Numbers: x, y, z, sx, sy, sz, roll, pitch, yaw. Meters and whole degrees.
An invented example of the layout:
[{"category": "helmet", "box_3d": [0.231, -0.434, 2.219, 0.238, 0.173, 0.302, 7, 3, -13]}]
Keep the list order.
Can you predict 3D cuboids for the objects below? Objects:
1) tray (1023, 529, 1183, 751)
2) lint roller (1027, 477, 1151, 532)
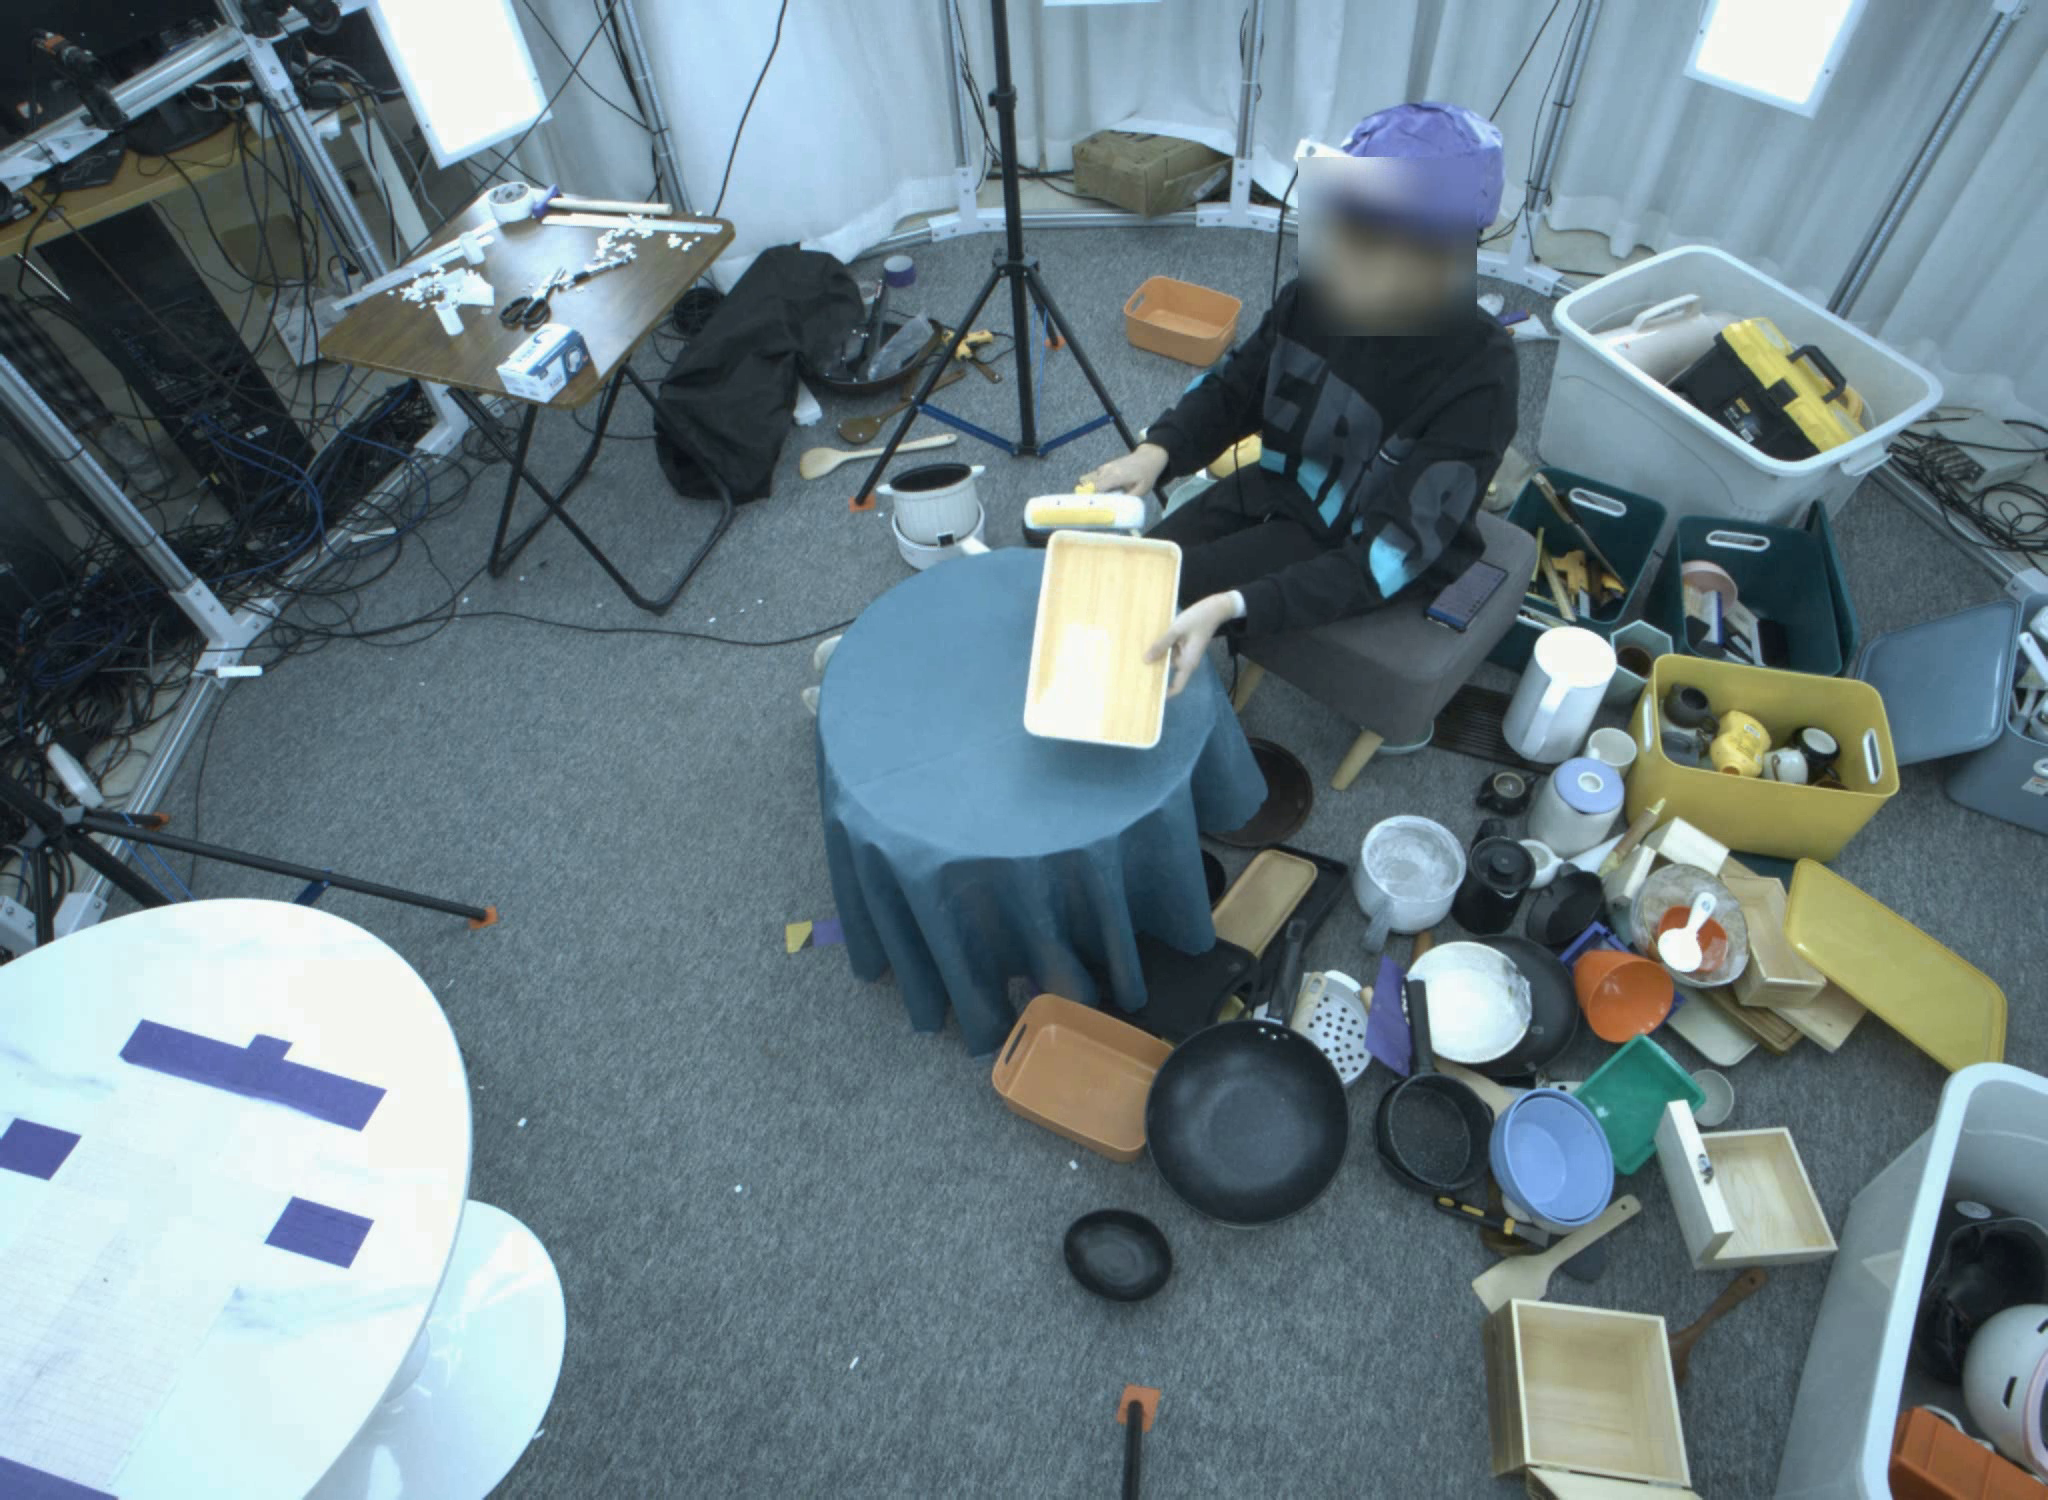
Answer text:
[{"category": "tray", "box_3d": [0.111, -0.156, 1.721, 0.191, 0.027, 0.299, 8, 82, 2]}, {"category": "lint roller", "box_3d": [0.121, -0.378, 1.875, 0.189, 0.075, 0.194, 1, 19, 30]}]
